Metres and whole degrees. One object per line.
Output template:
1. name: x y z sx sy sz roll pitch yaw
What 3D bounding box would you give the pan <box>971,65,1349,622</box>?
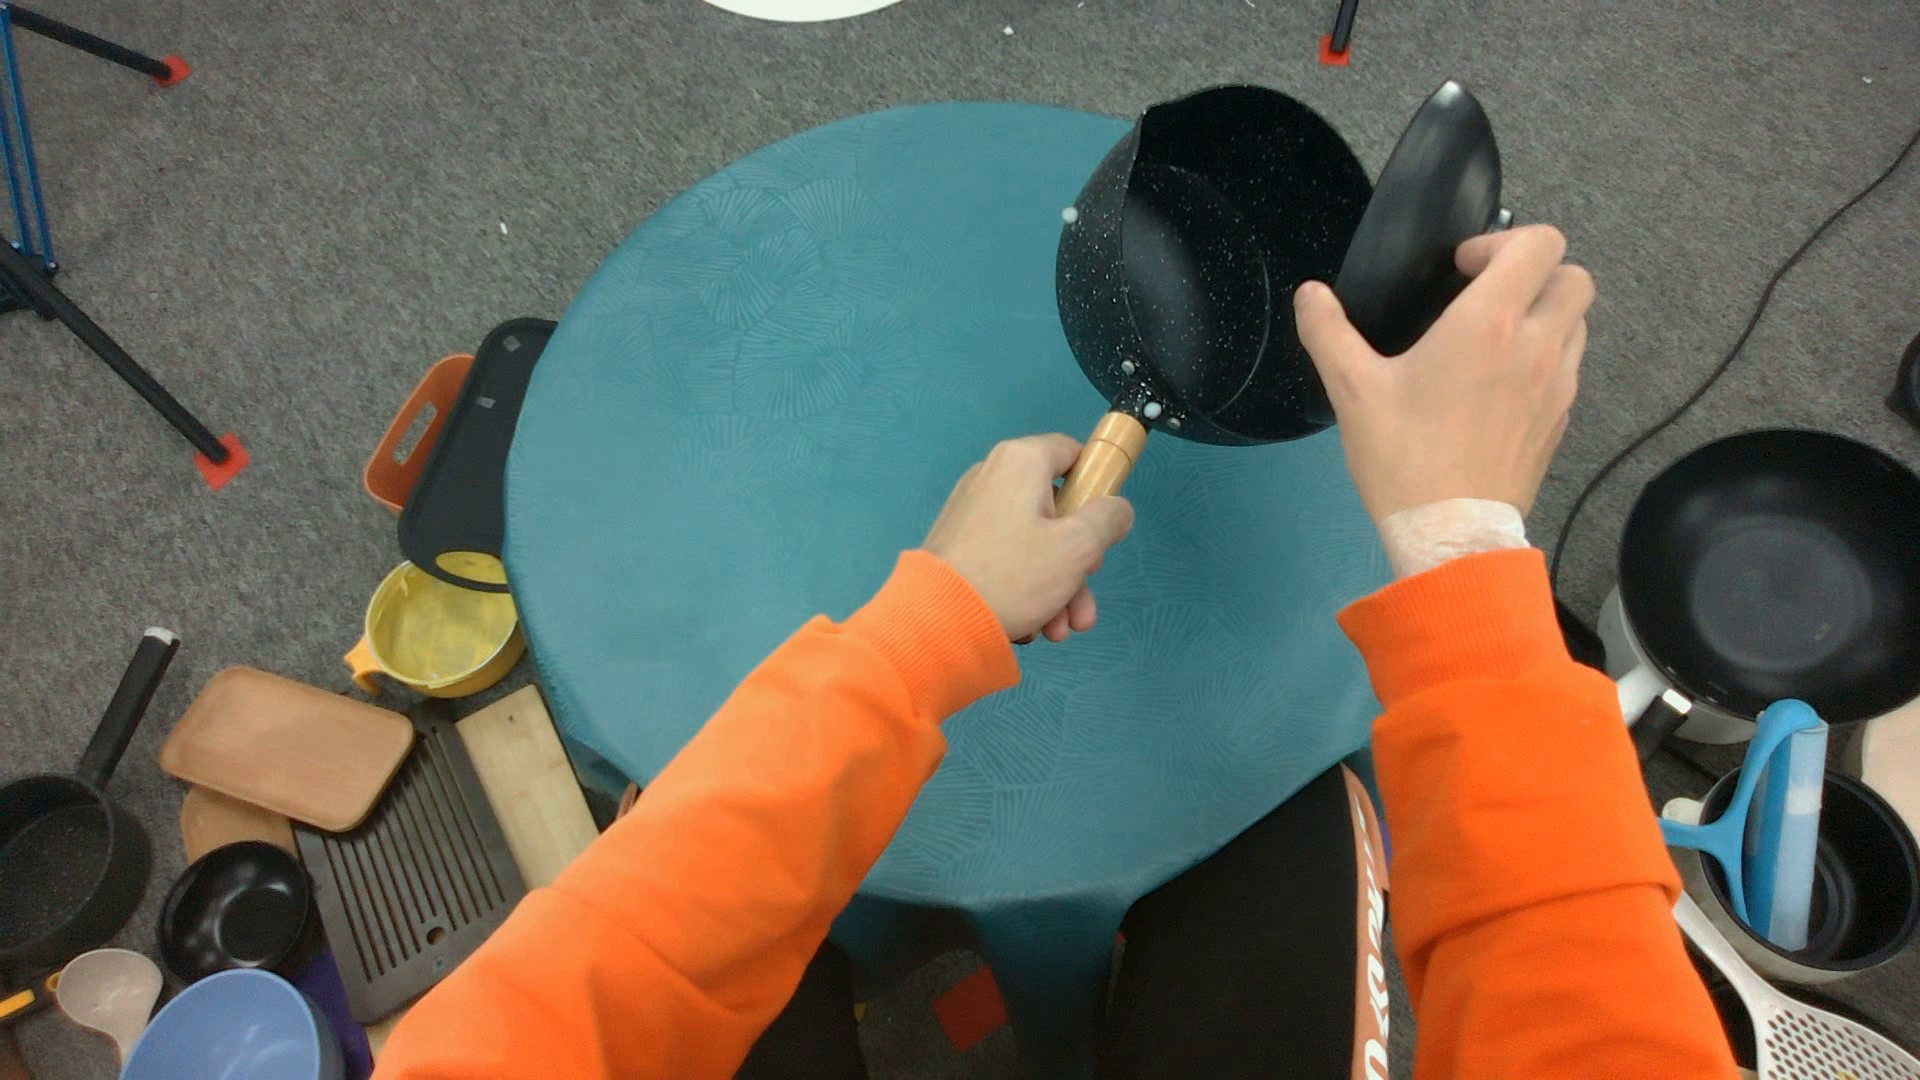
1. pan: 0.087 -0.091 0.706 0.207 0.108 0.344 45 66 -22

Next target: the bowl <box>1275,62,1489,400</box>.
1. bowl: 0.210 -0.140 0.665 0.066 0.137 0.170 23 100 13
